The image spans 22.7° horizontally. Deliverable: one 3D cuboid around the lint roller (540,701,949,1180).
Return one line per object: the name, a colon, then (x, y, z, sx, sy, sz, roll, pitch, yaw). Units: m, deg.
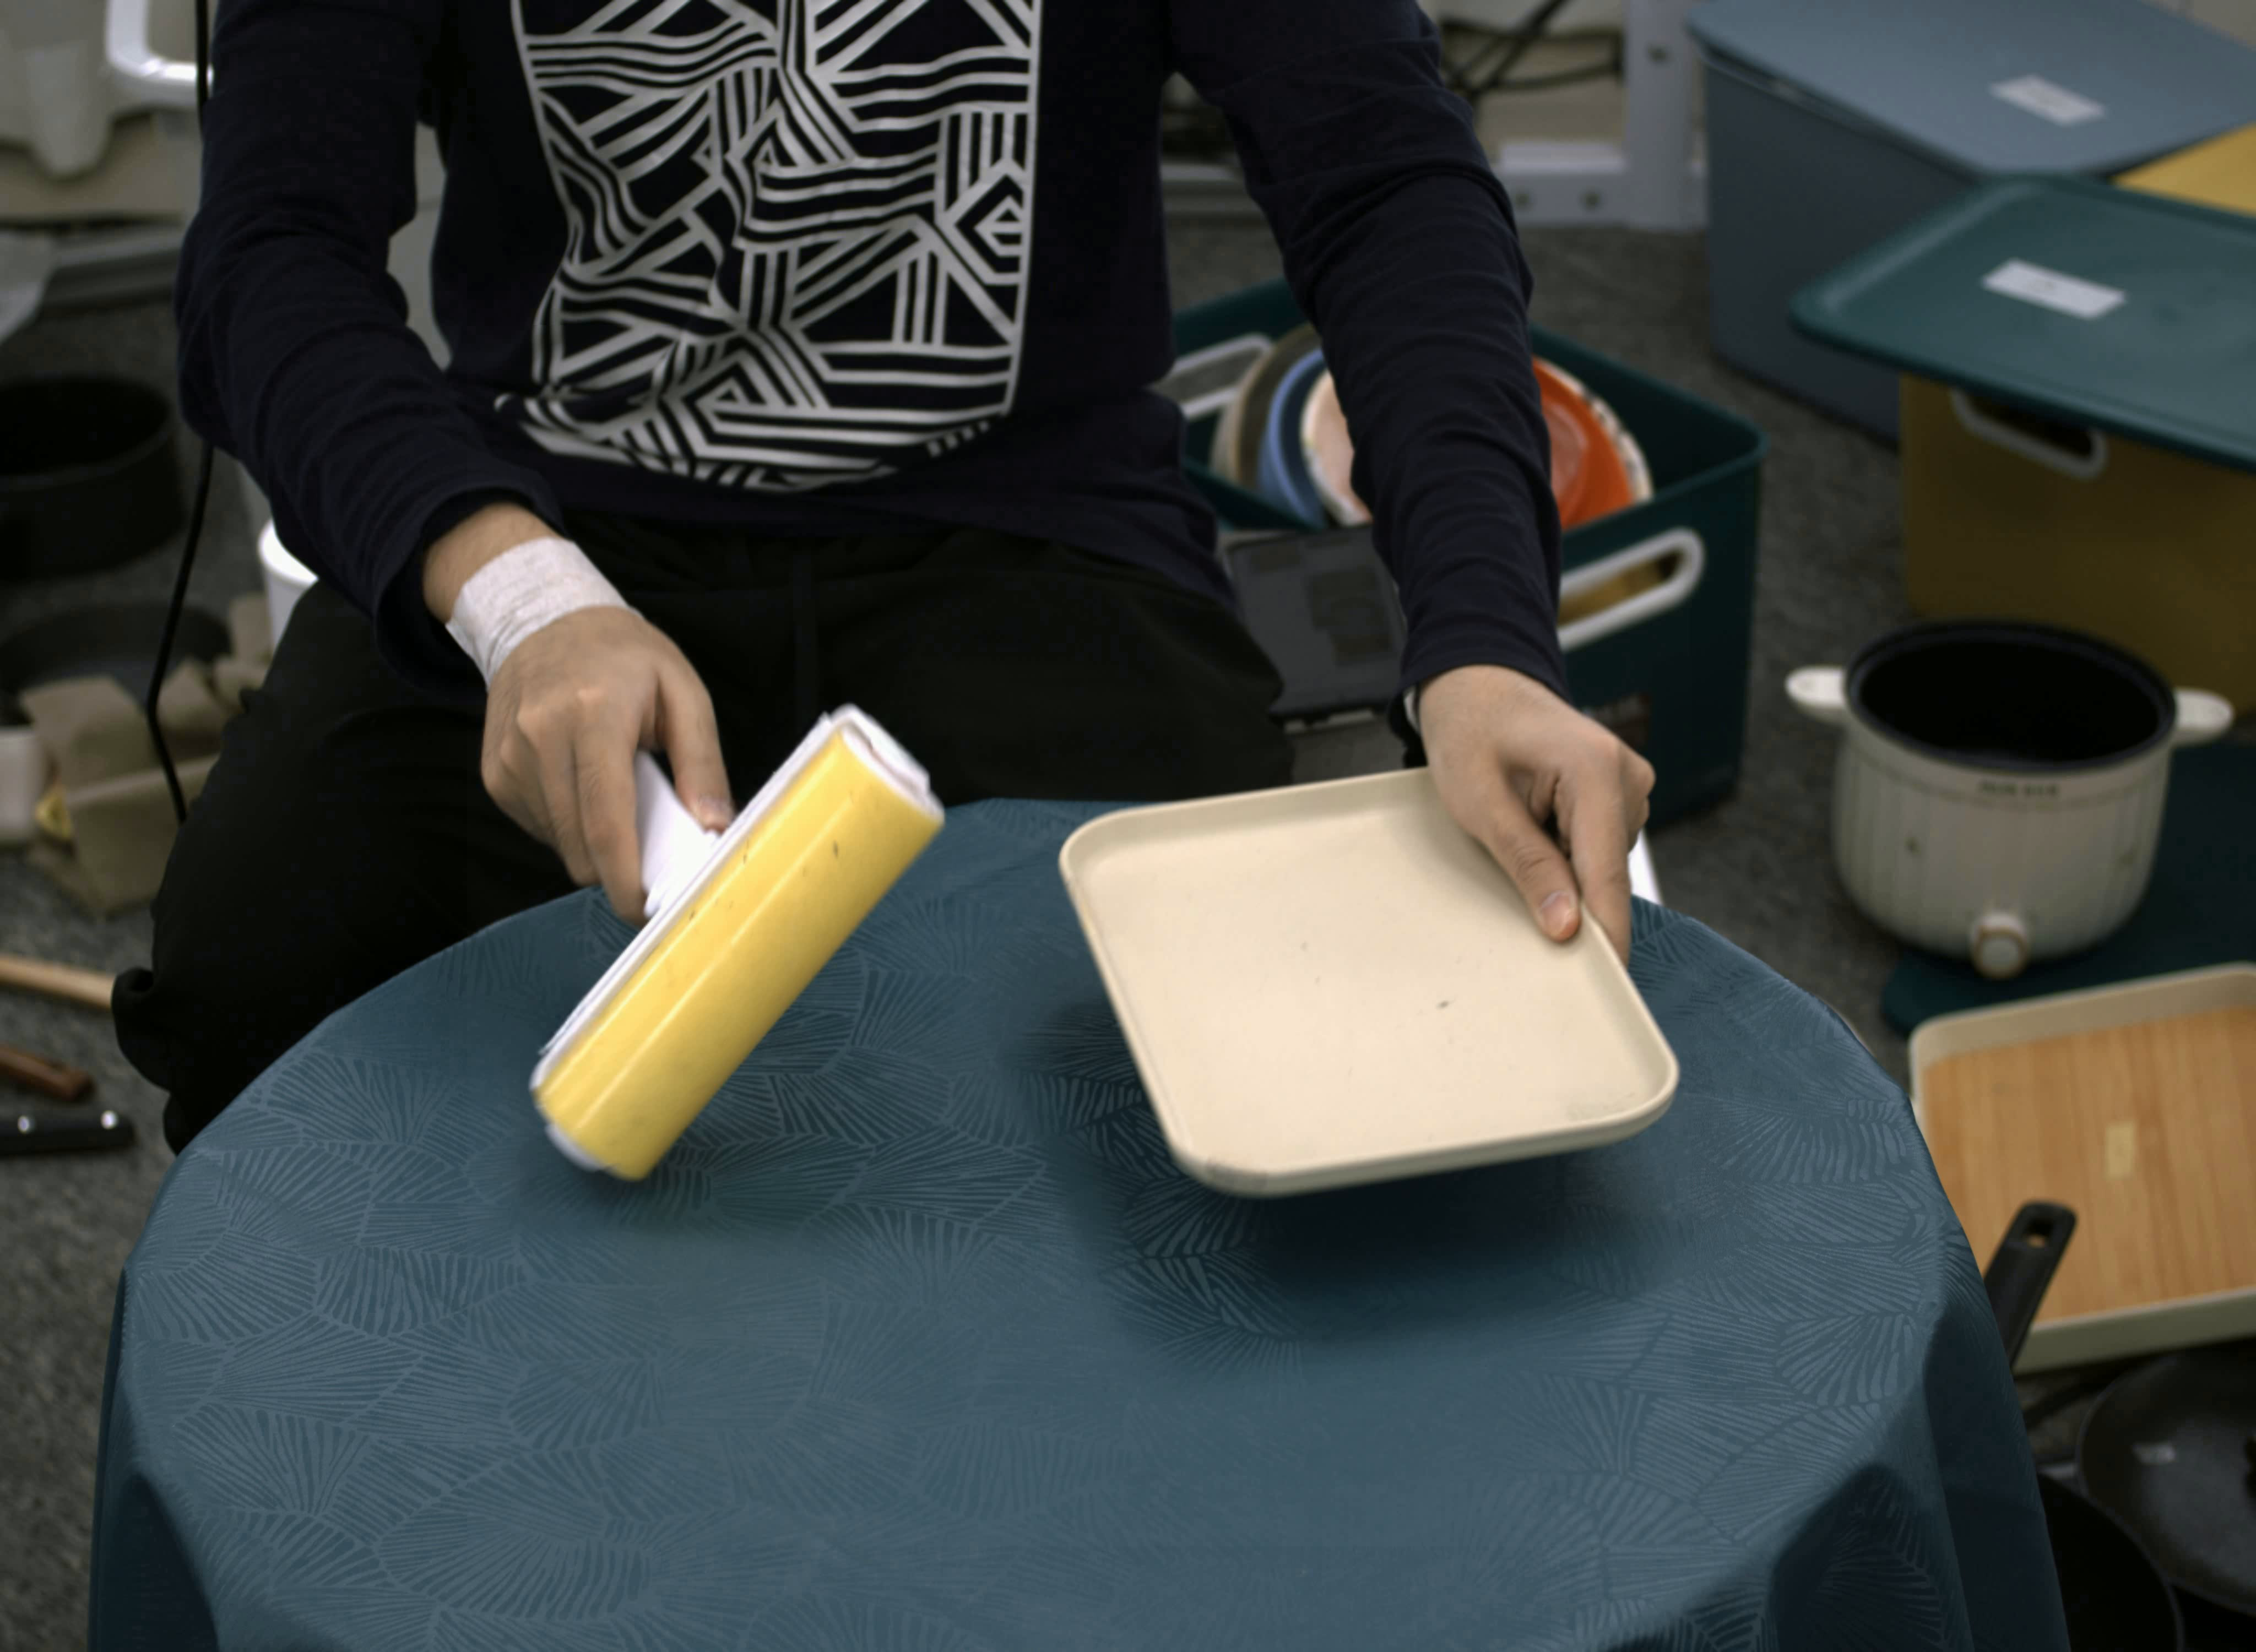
lint roller: (-0.163, 0.008, 1.925, 0.051, 0.174, 0.193, 35, 5, -44)

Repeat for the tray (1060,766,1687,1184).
tray: (0.078, 0.049, 1.886, 0.171, 0.017, 0.242, -6, 29, -10)
